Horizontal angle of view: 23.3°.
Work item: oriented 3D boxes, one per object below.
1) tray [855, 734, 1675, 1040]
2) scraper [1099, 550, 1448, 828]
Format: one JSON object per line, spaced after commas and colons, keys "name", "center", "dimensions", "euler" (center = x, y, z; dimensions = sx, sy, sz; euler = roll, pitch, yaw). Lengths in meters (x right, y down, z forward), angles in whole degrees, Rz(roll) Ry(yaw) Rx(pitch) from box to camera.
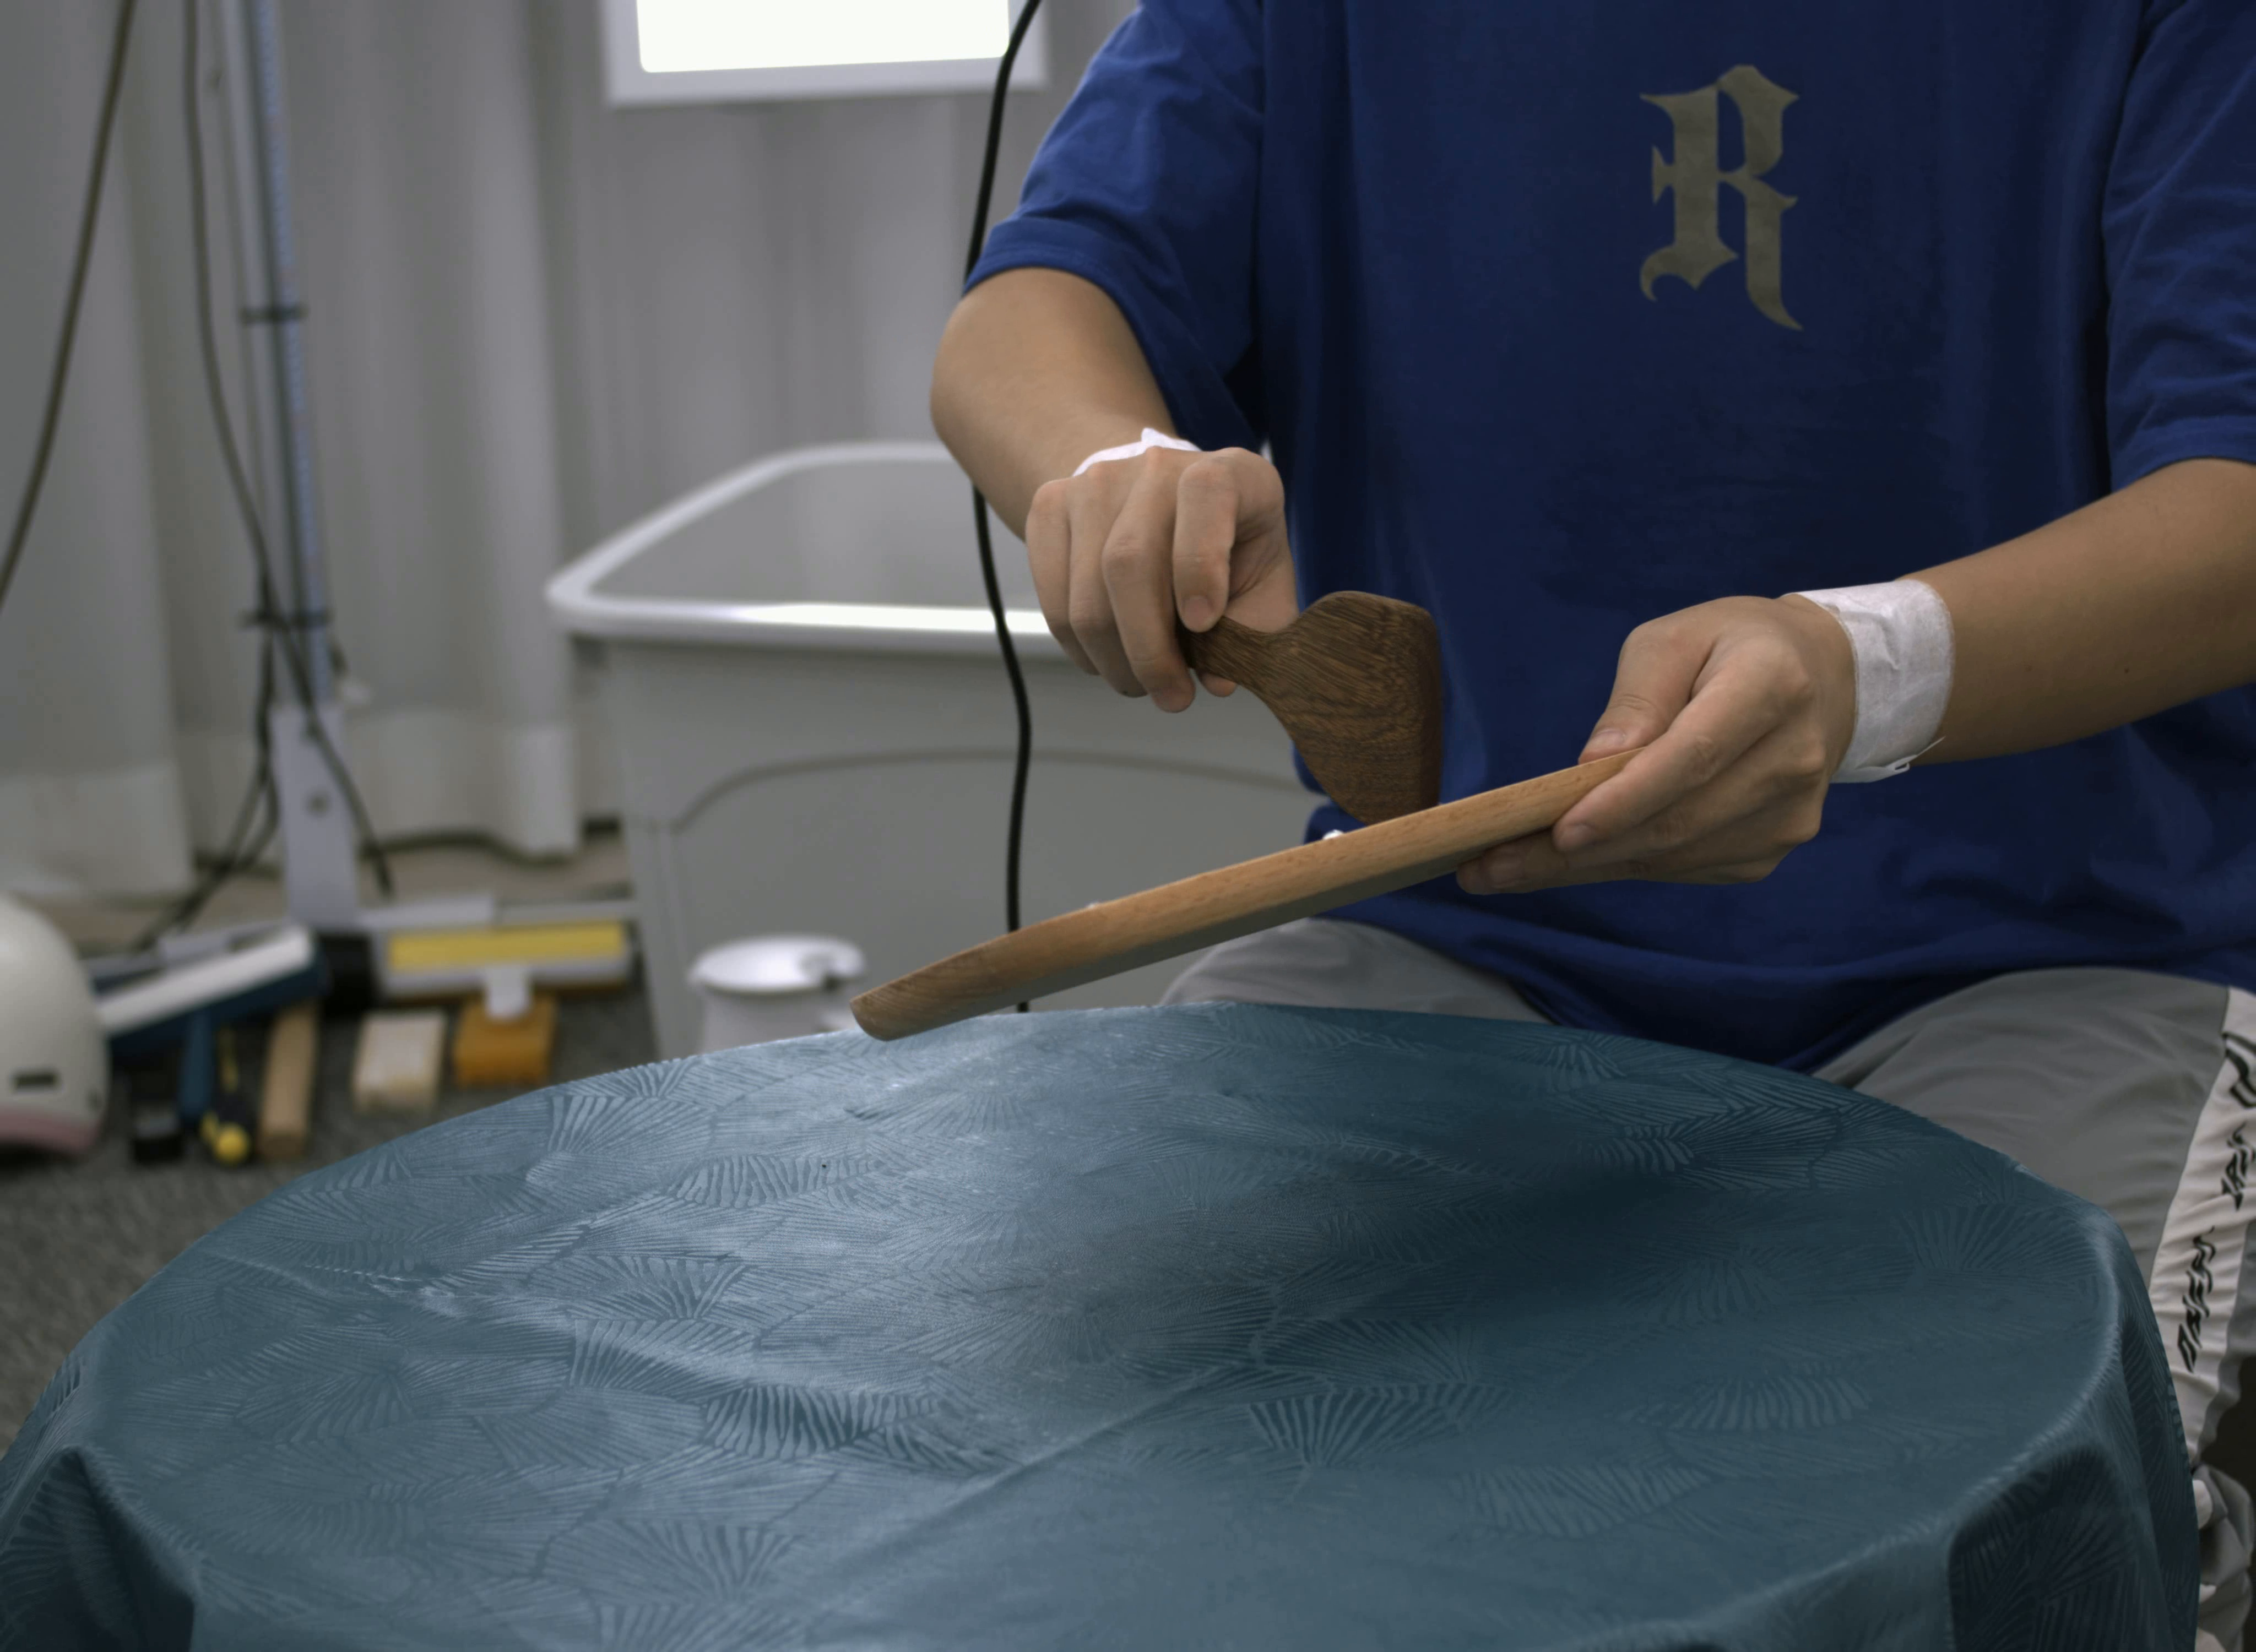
{"name": "tray", "center": [0.043, 0.018, 1.624], "dimensions": [0.250, 0.023, 0.130], "euler": [-15, -3, -33]}
{"name": "scraper", "center": [0.041, -0.053, 1.707], "dimensions": [0.011, 0.075, 0.213], "euler": [-10, 18, -26]}
